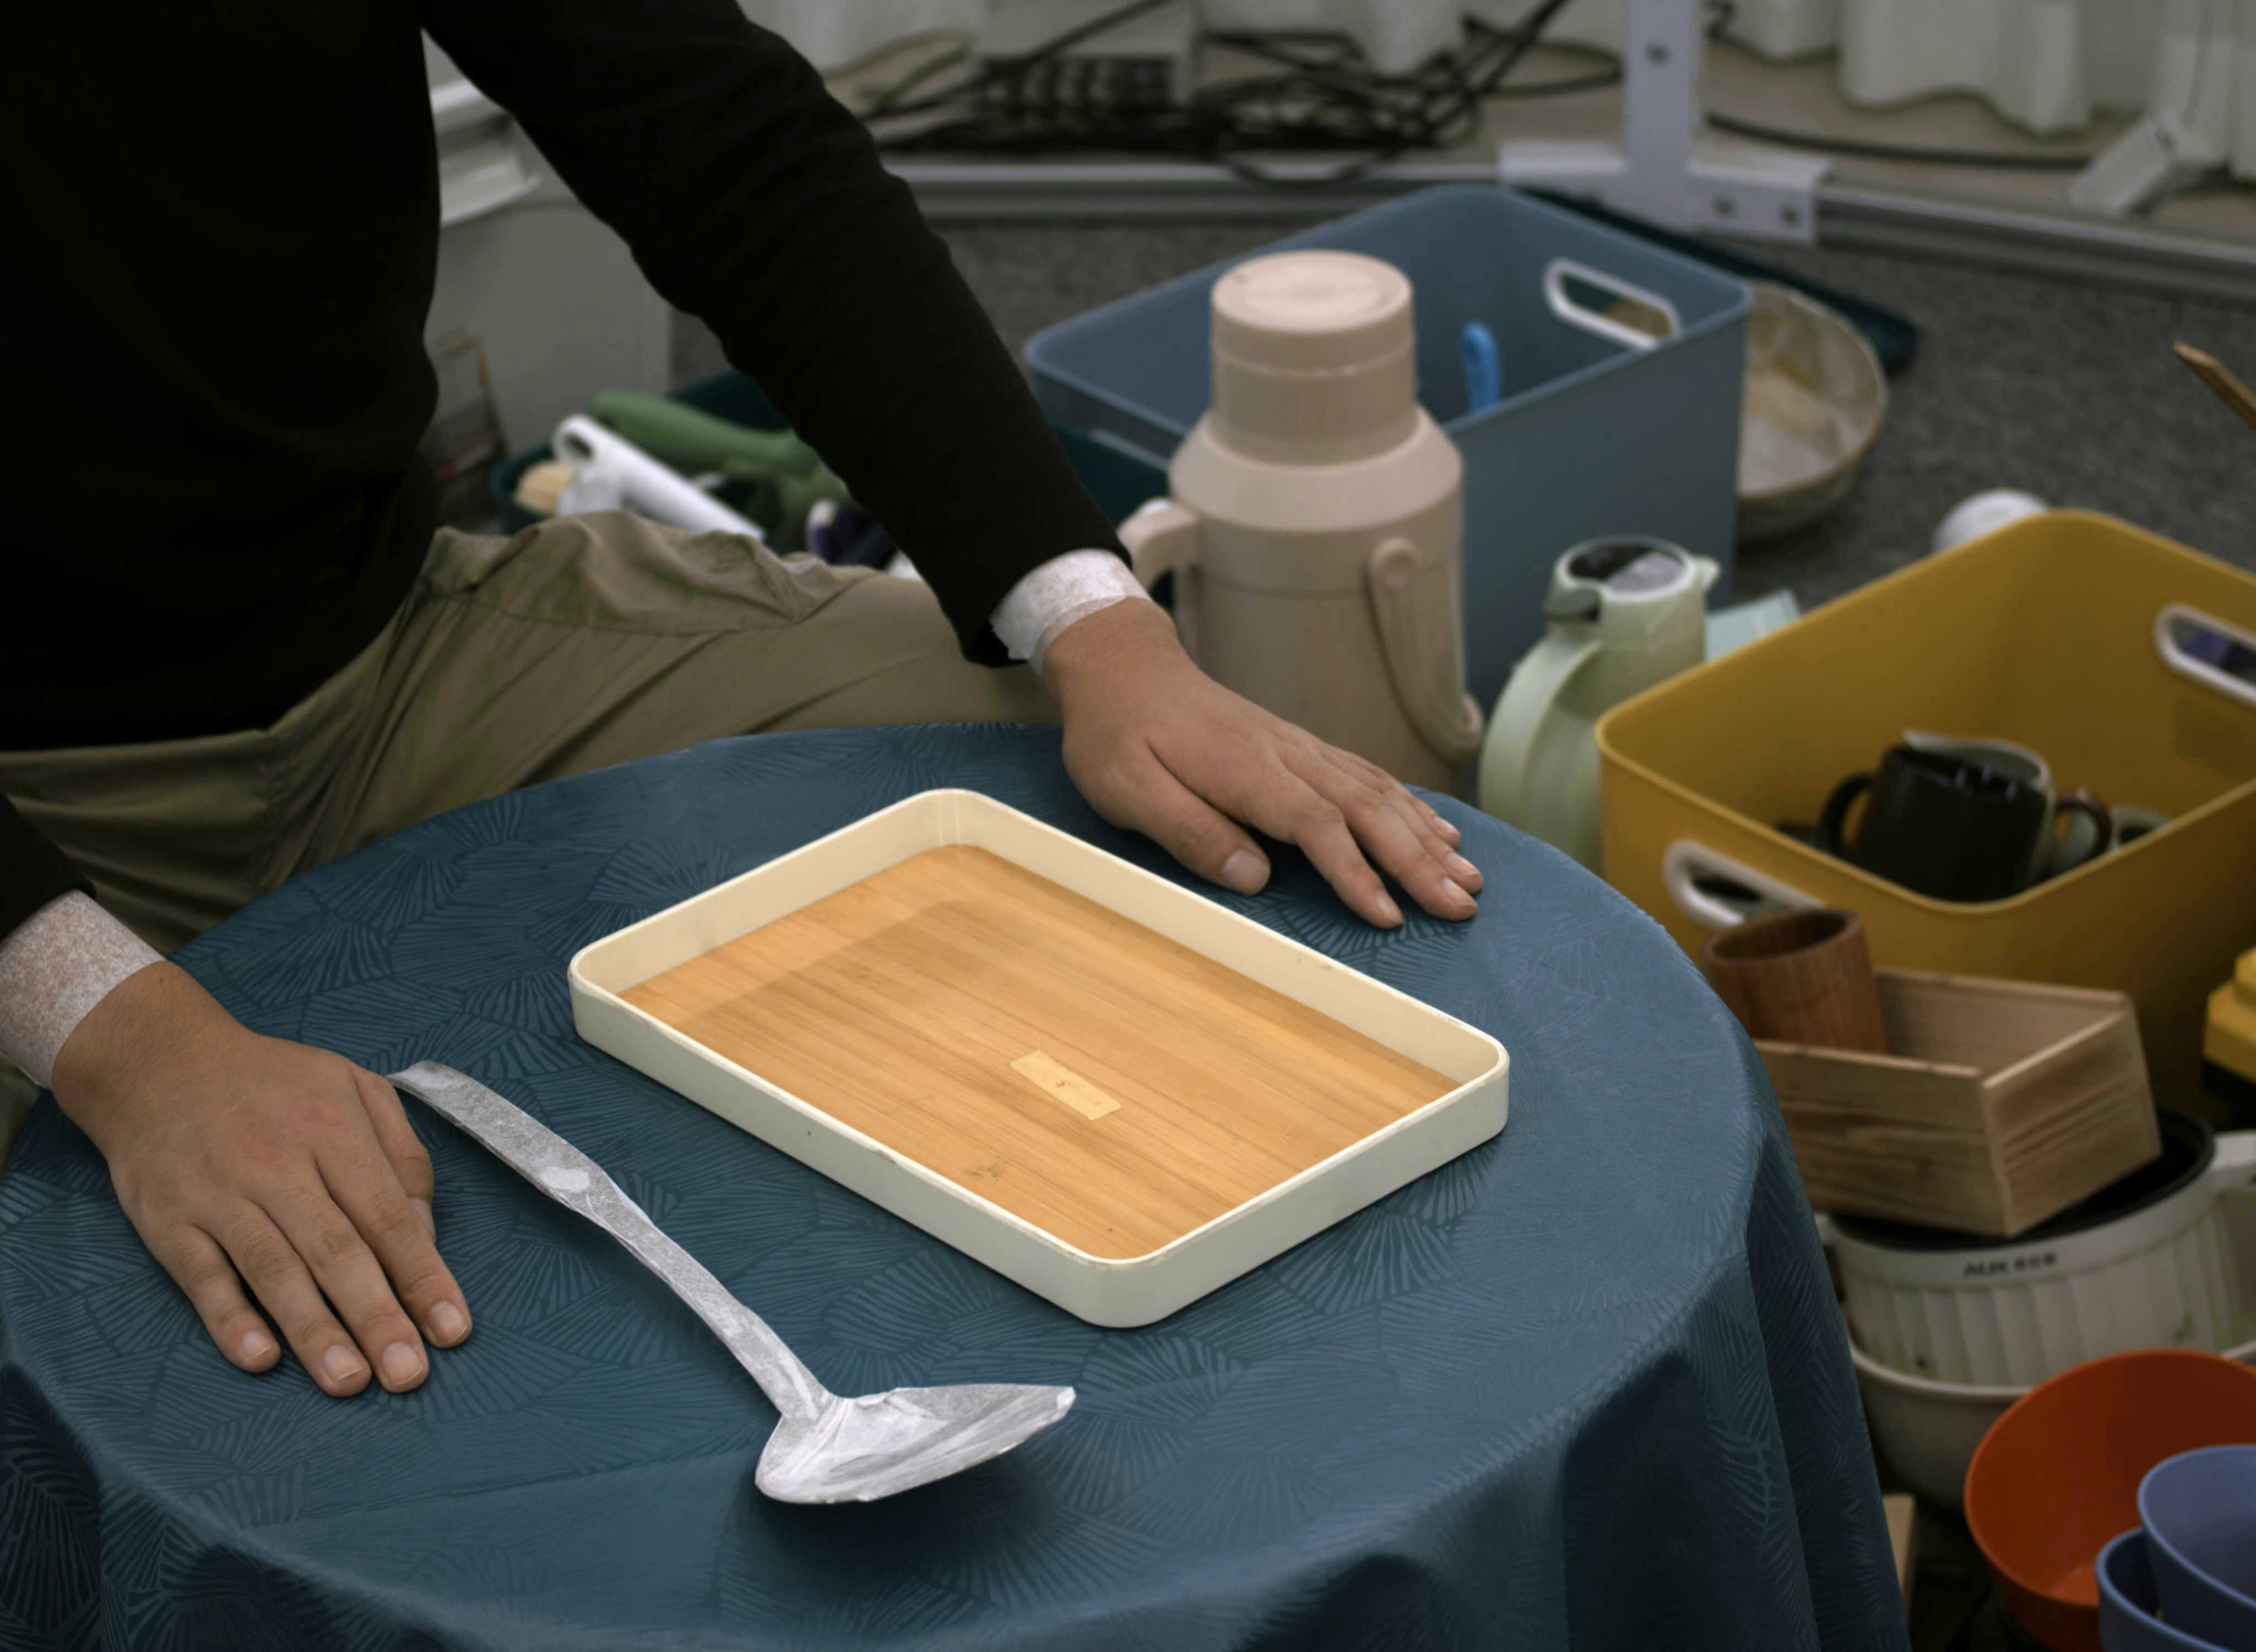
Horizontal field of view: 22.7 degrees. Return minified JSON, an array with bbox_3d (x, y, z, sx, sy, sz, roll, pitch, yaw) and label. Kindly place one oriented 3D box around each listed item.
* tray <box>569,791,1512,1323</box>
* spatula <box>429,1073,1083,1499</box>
[{"bbox_3d":[-0.033,0.074,1.928,0.194,0.027,0.300,-25,34,-35],"label":"tray"},{"bbox_3d":[-0.143,0.138,1.802,0.099,0.044,0.366,-20,32,-28],"label":"spatula"}]
